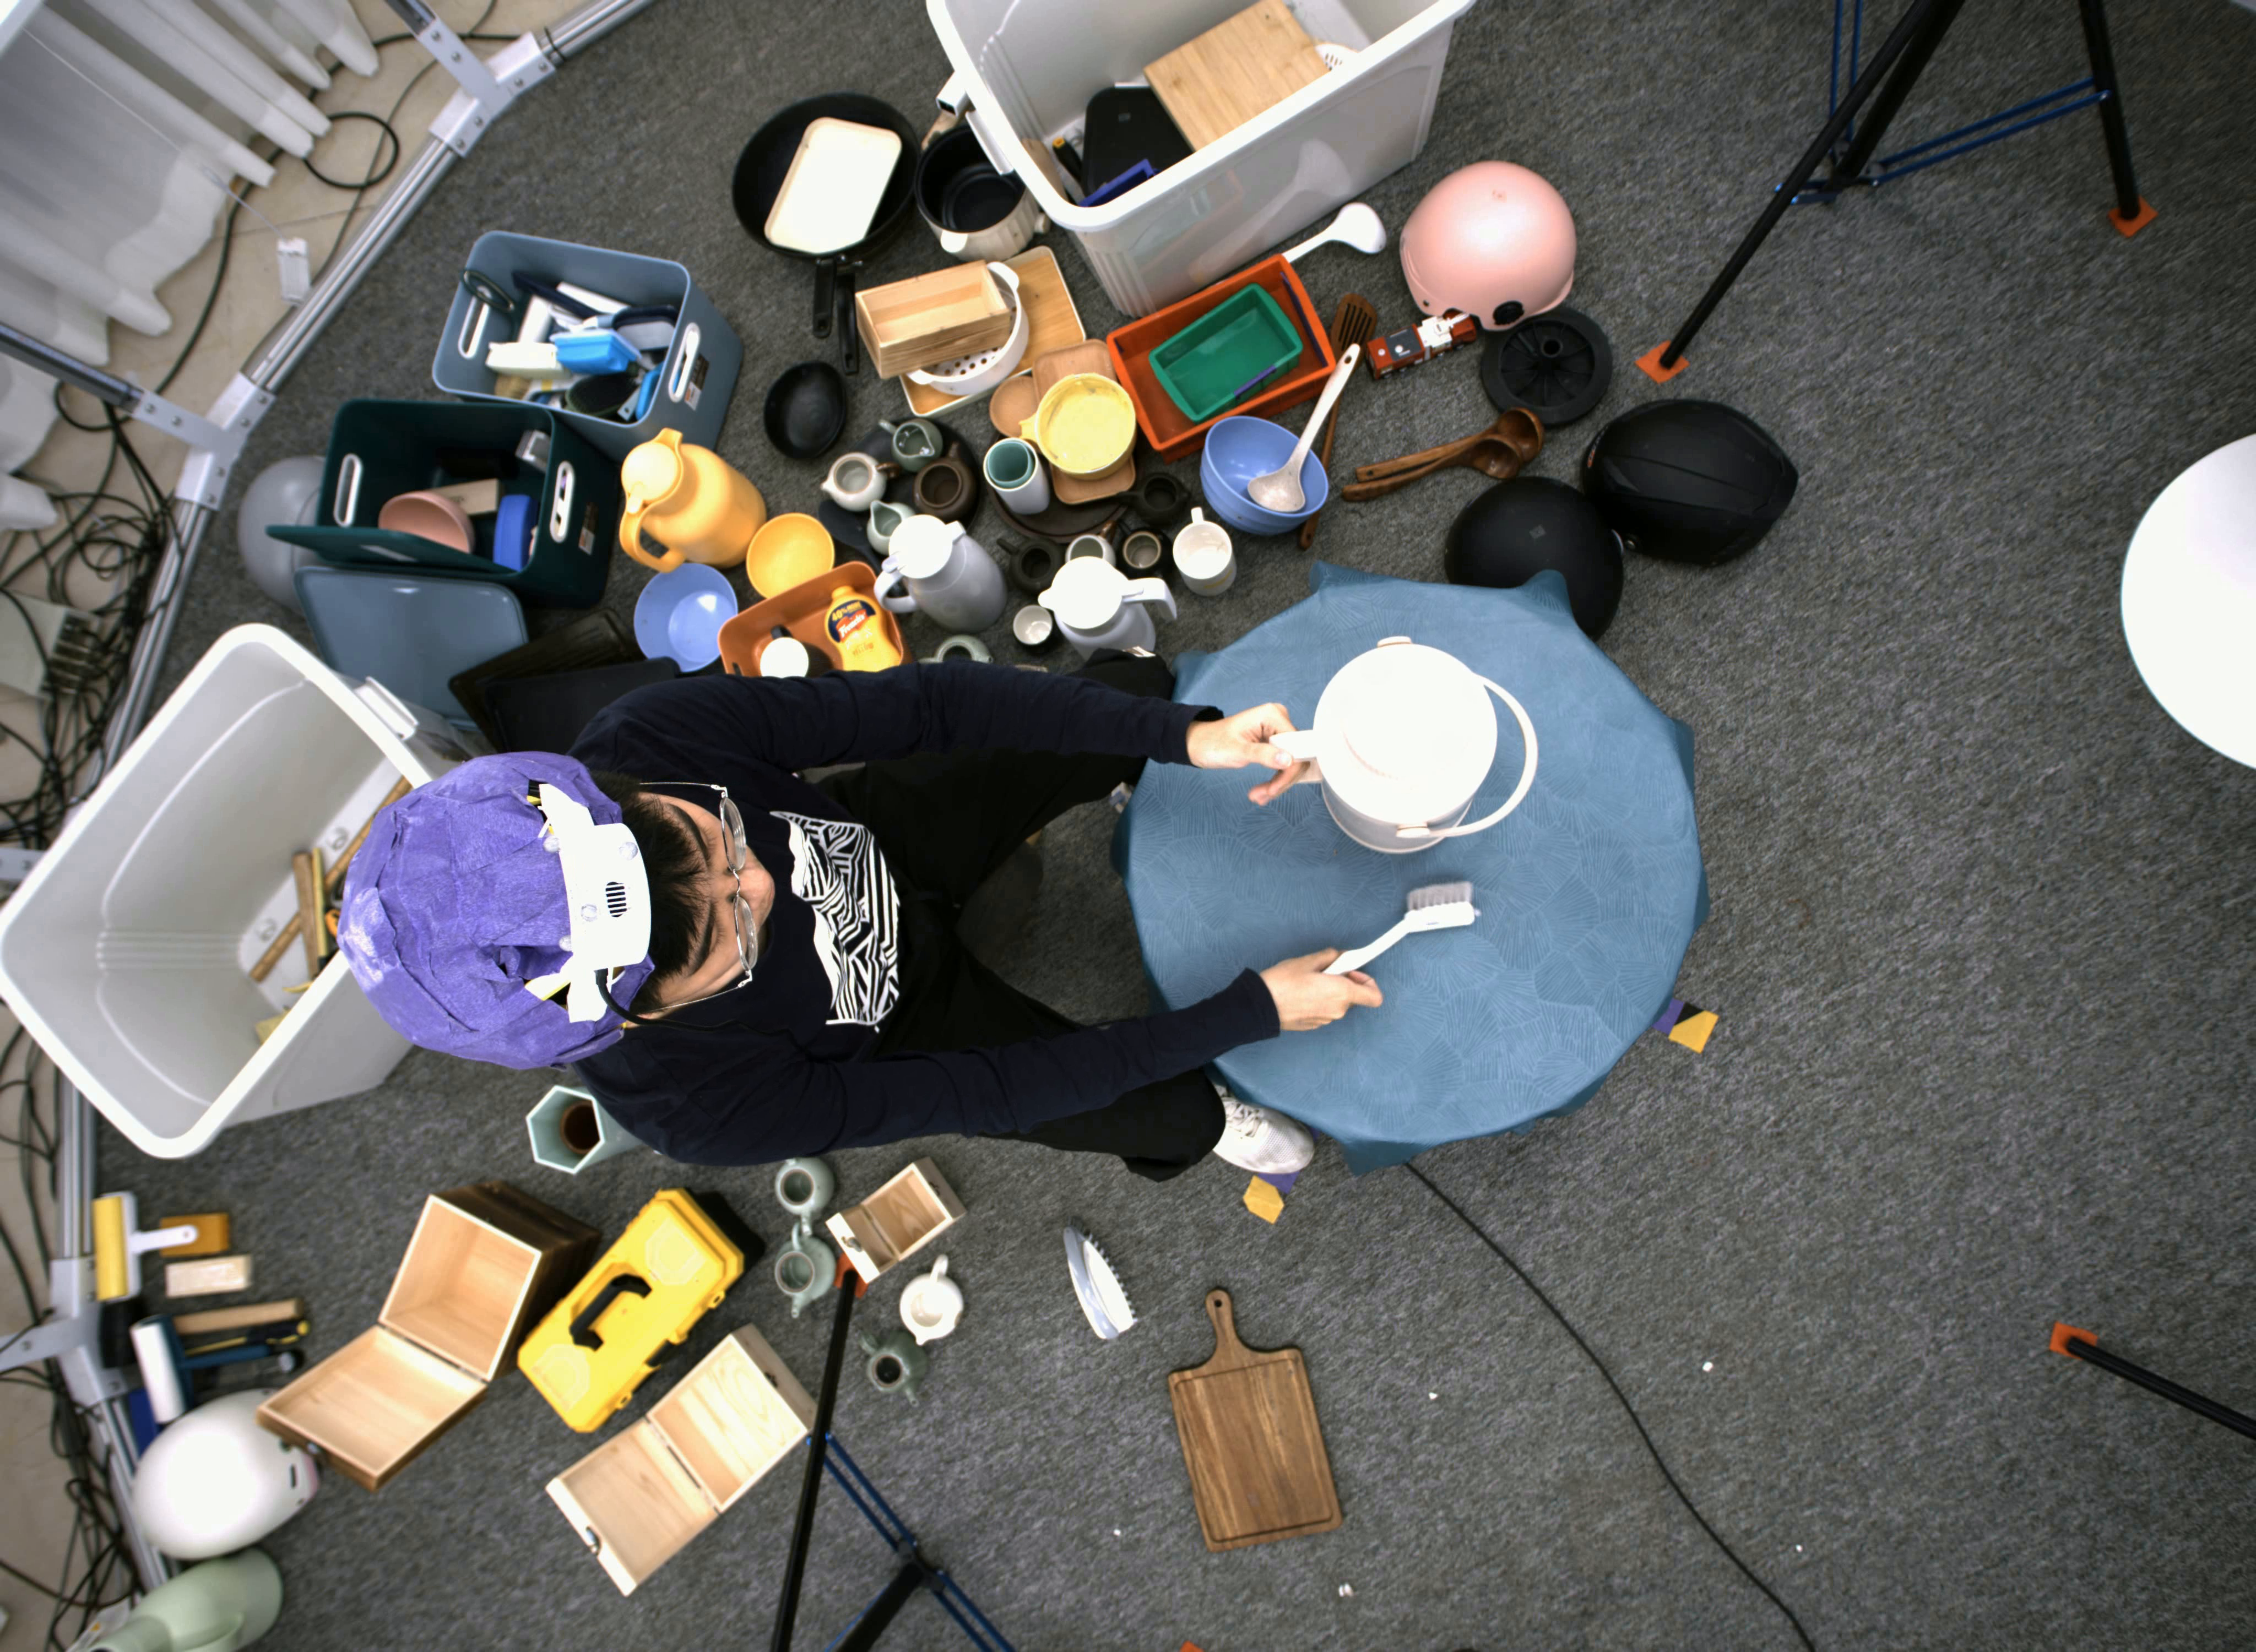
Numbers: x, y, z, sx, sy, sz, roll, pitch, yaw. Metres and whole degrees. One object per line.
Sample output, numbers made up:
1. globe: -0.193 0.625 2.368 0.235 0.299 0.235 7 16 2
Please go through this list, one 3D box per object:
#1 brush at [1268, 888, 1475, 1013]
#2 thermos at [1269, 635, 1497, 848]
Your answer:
1. brush: 0.248 0.123 1.430 0.245 0.034 0.050 -26 82 8
2. thermos: 0.239 -0.072 1.271 0.208 0.406 0.174 -6 85 10
